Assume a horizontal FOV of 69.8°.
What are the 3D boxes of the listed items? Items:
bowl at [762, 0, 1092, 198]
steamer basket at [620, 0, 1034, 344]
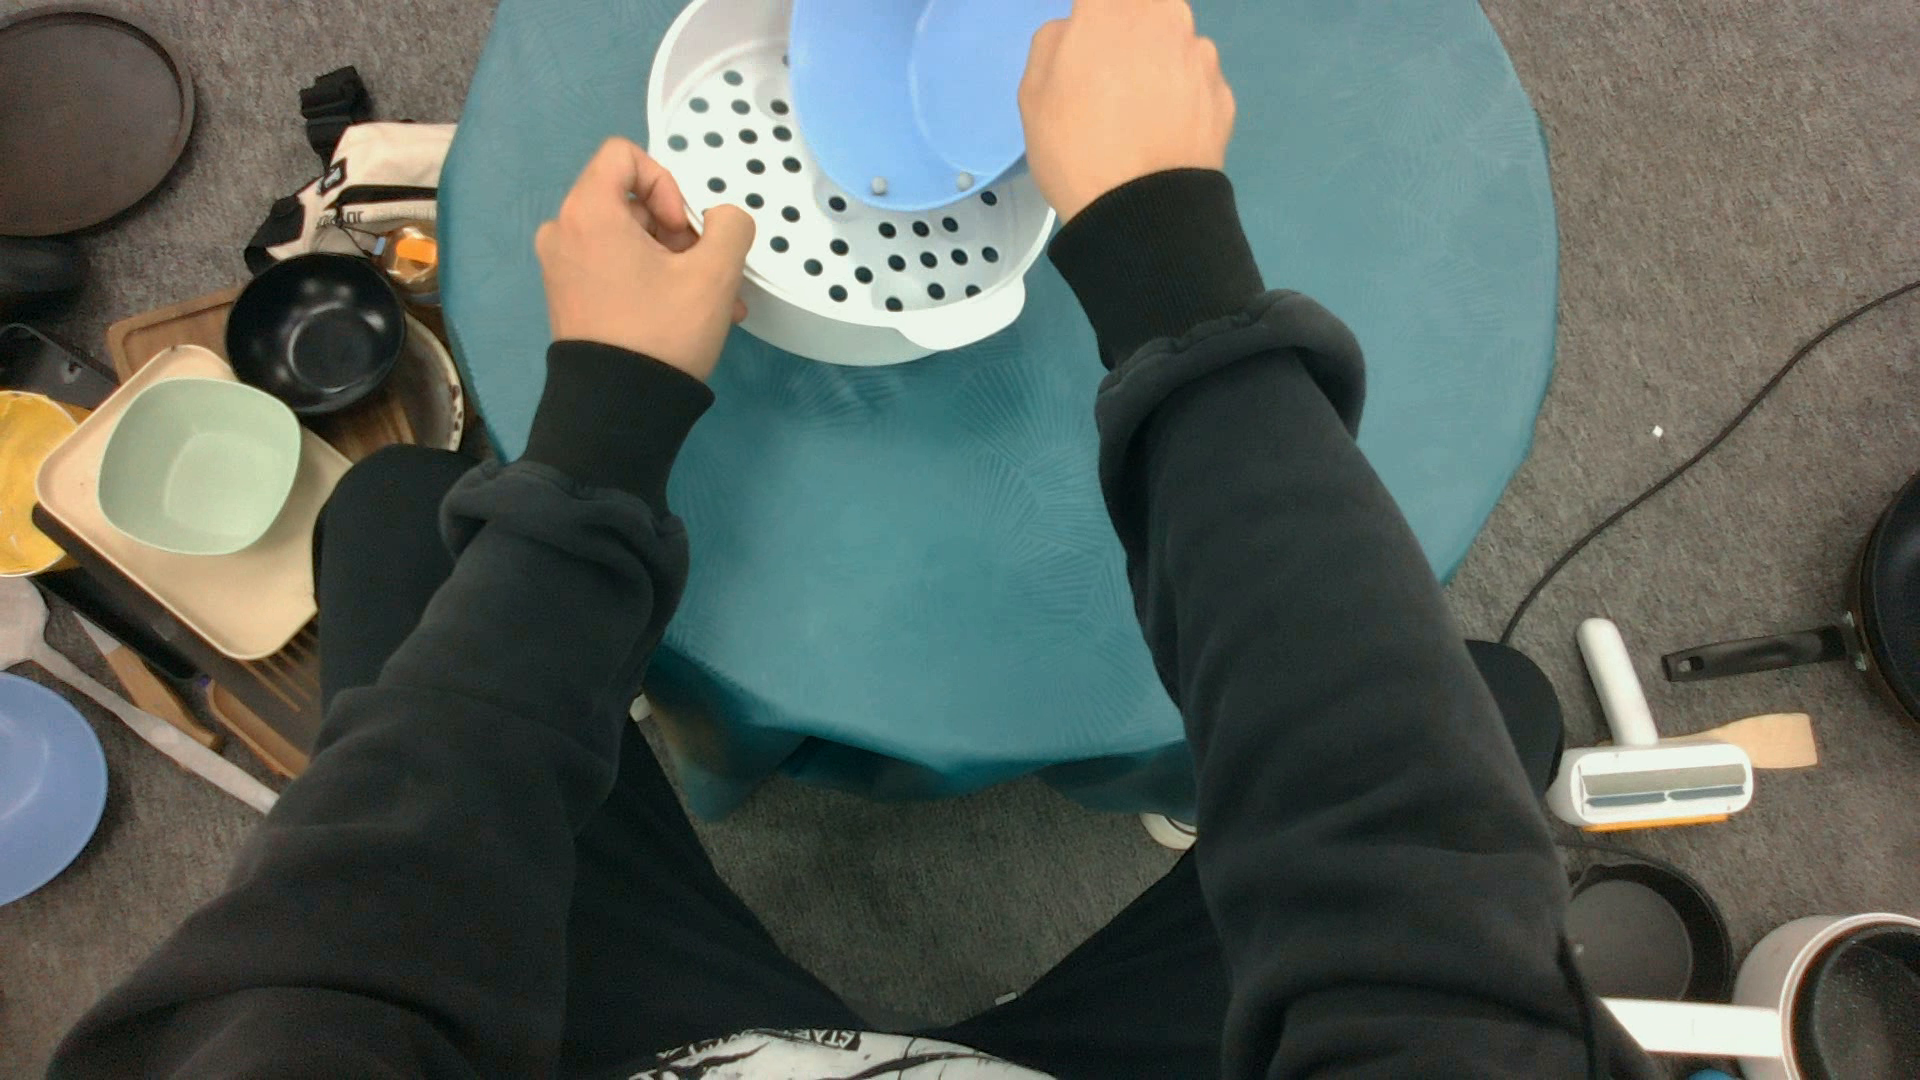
[{"bbox_3d":[-0.005,-0.241,0.642,0.175,0.070,0.176,0,89,34],"label":"bowl"},{"bbox_3d":[-0.067,-0.194,0.684,0.202,0.069,0.231,-27,80,-26],"label":"steamer basket"}]
